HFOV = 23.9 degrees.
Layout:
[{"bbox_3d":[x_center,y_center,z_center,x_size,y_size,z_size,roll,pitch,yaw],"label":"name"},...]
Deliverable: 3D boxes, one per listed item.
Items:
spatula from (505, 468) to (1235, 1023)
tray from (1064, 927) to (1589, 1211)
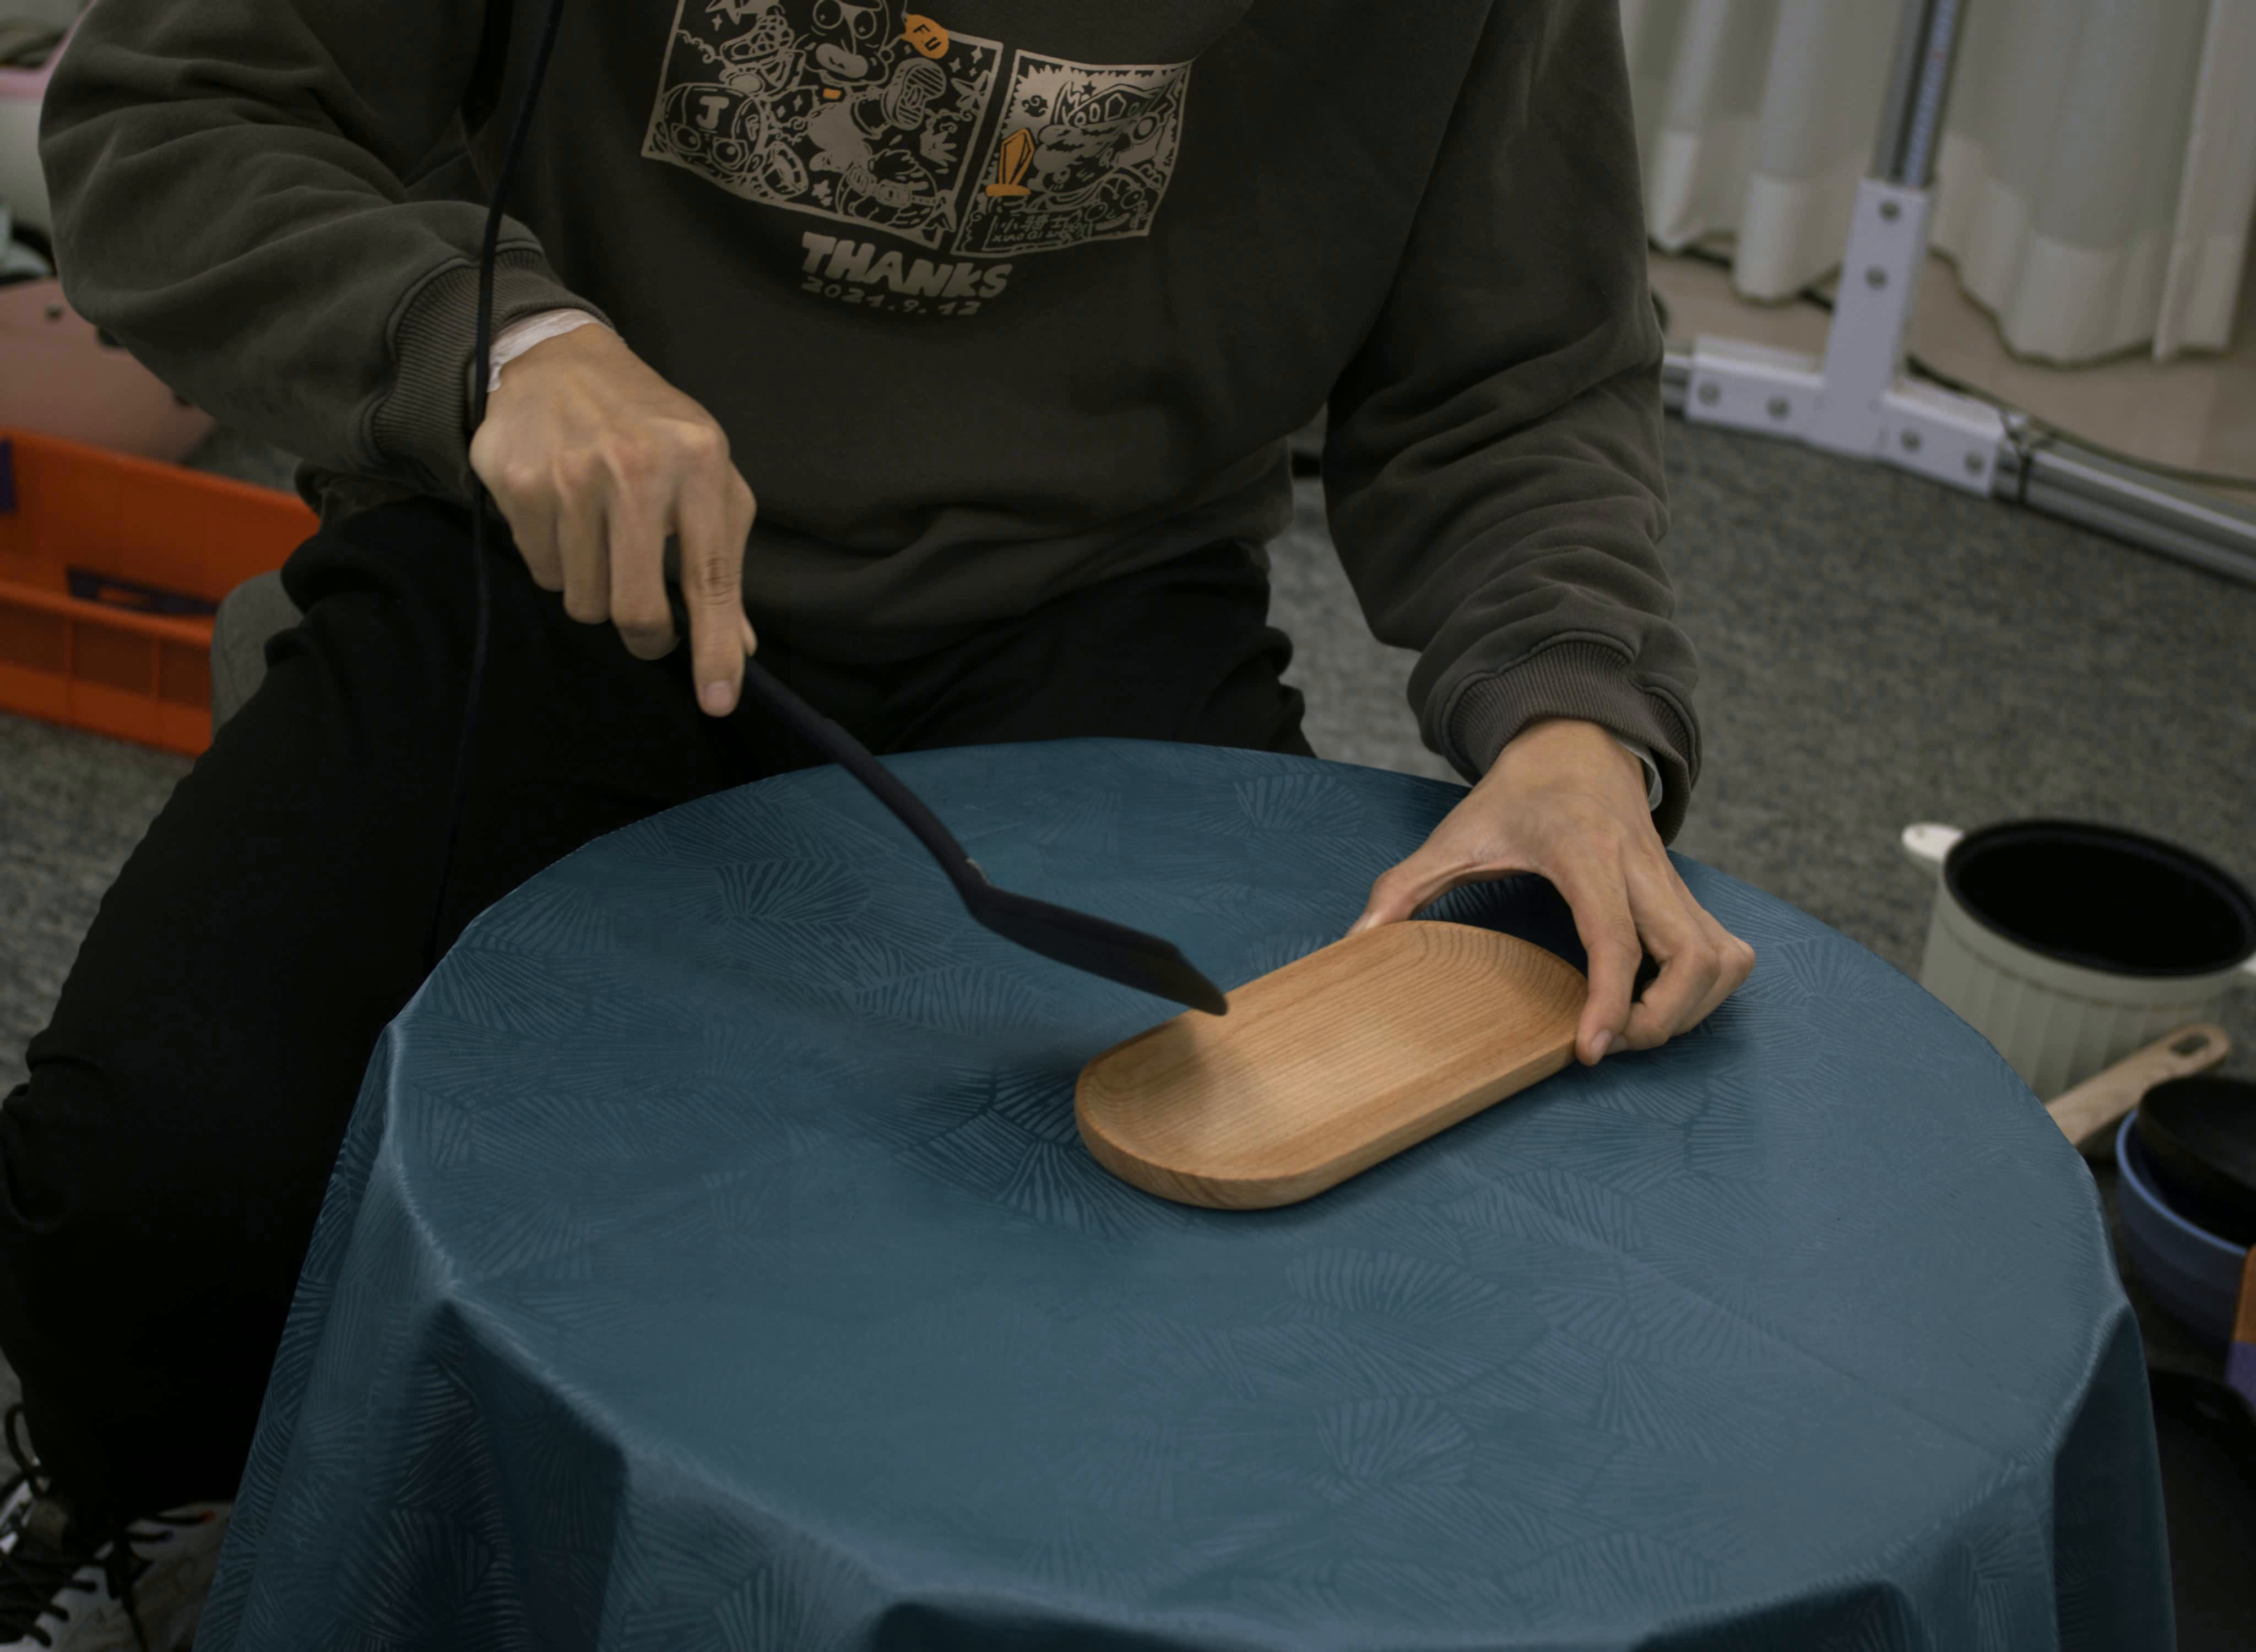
[{"bbox_3d":[-0.095,-0.032,1.868,0.327,0.040,0.099,42,-8,14],"label":"spatula"},{"bbox_3d":[0.072,0.085,1.879,0.102,0.020,0.230,26,34,36],"label":"tray"}]
